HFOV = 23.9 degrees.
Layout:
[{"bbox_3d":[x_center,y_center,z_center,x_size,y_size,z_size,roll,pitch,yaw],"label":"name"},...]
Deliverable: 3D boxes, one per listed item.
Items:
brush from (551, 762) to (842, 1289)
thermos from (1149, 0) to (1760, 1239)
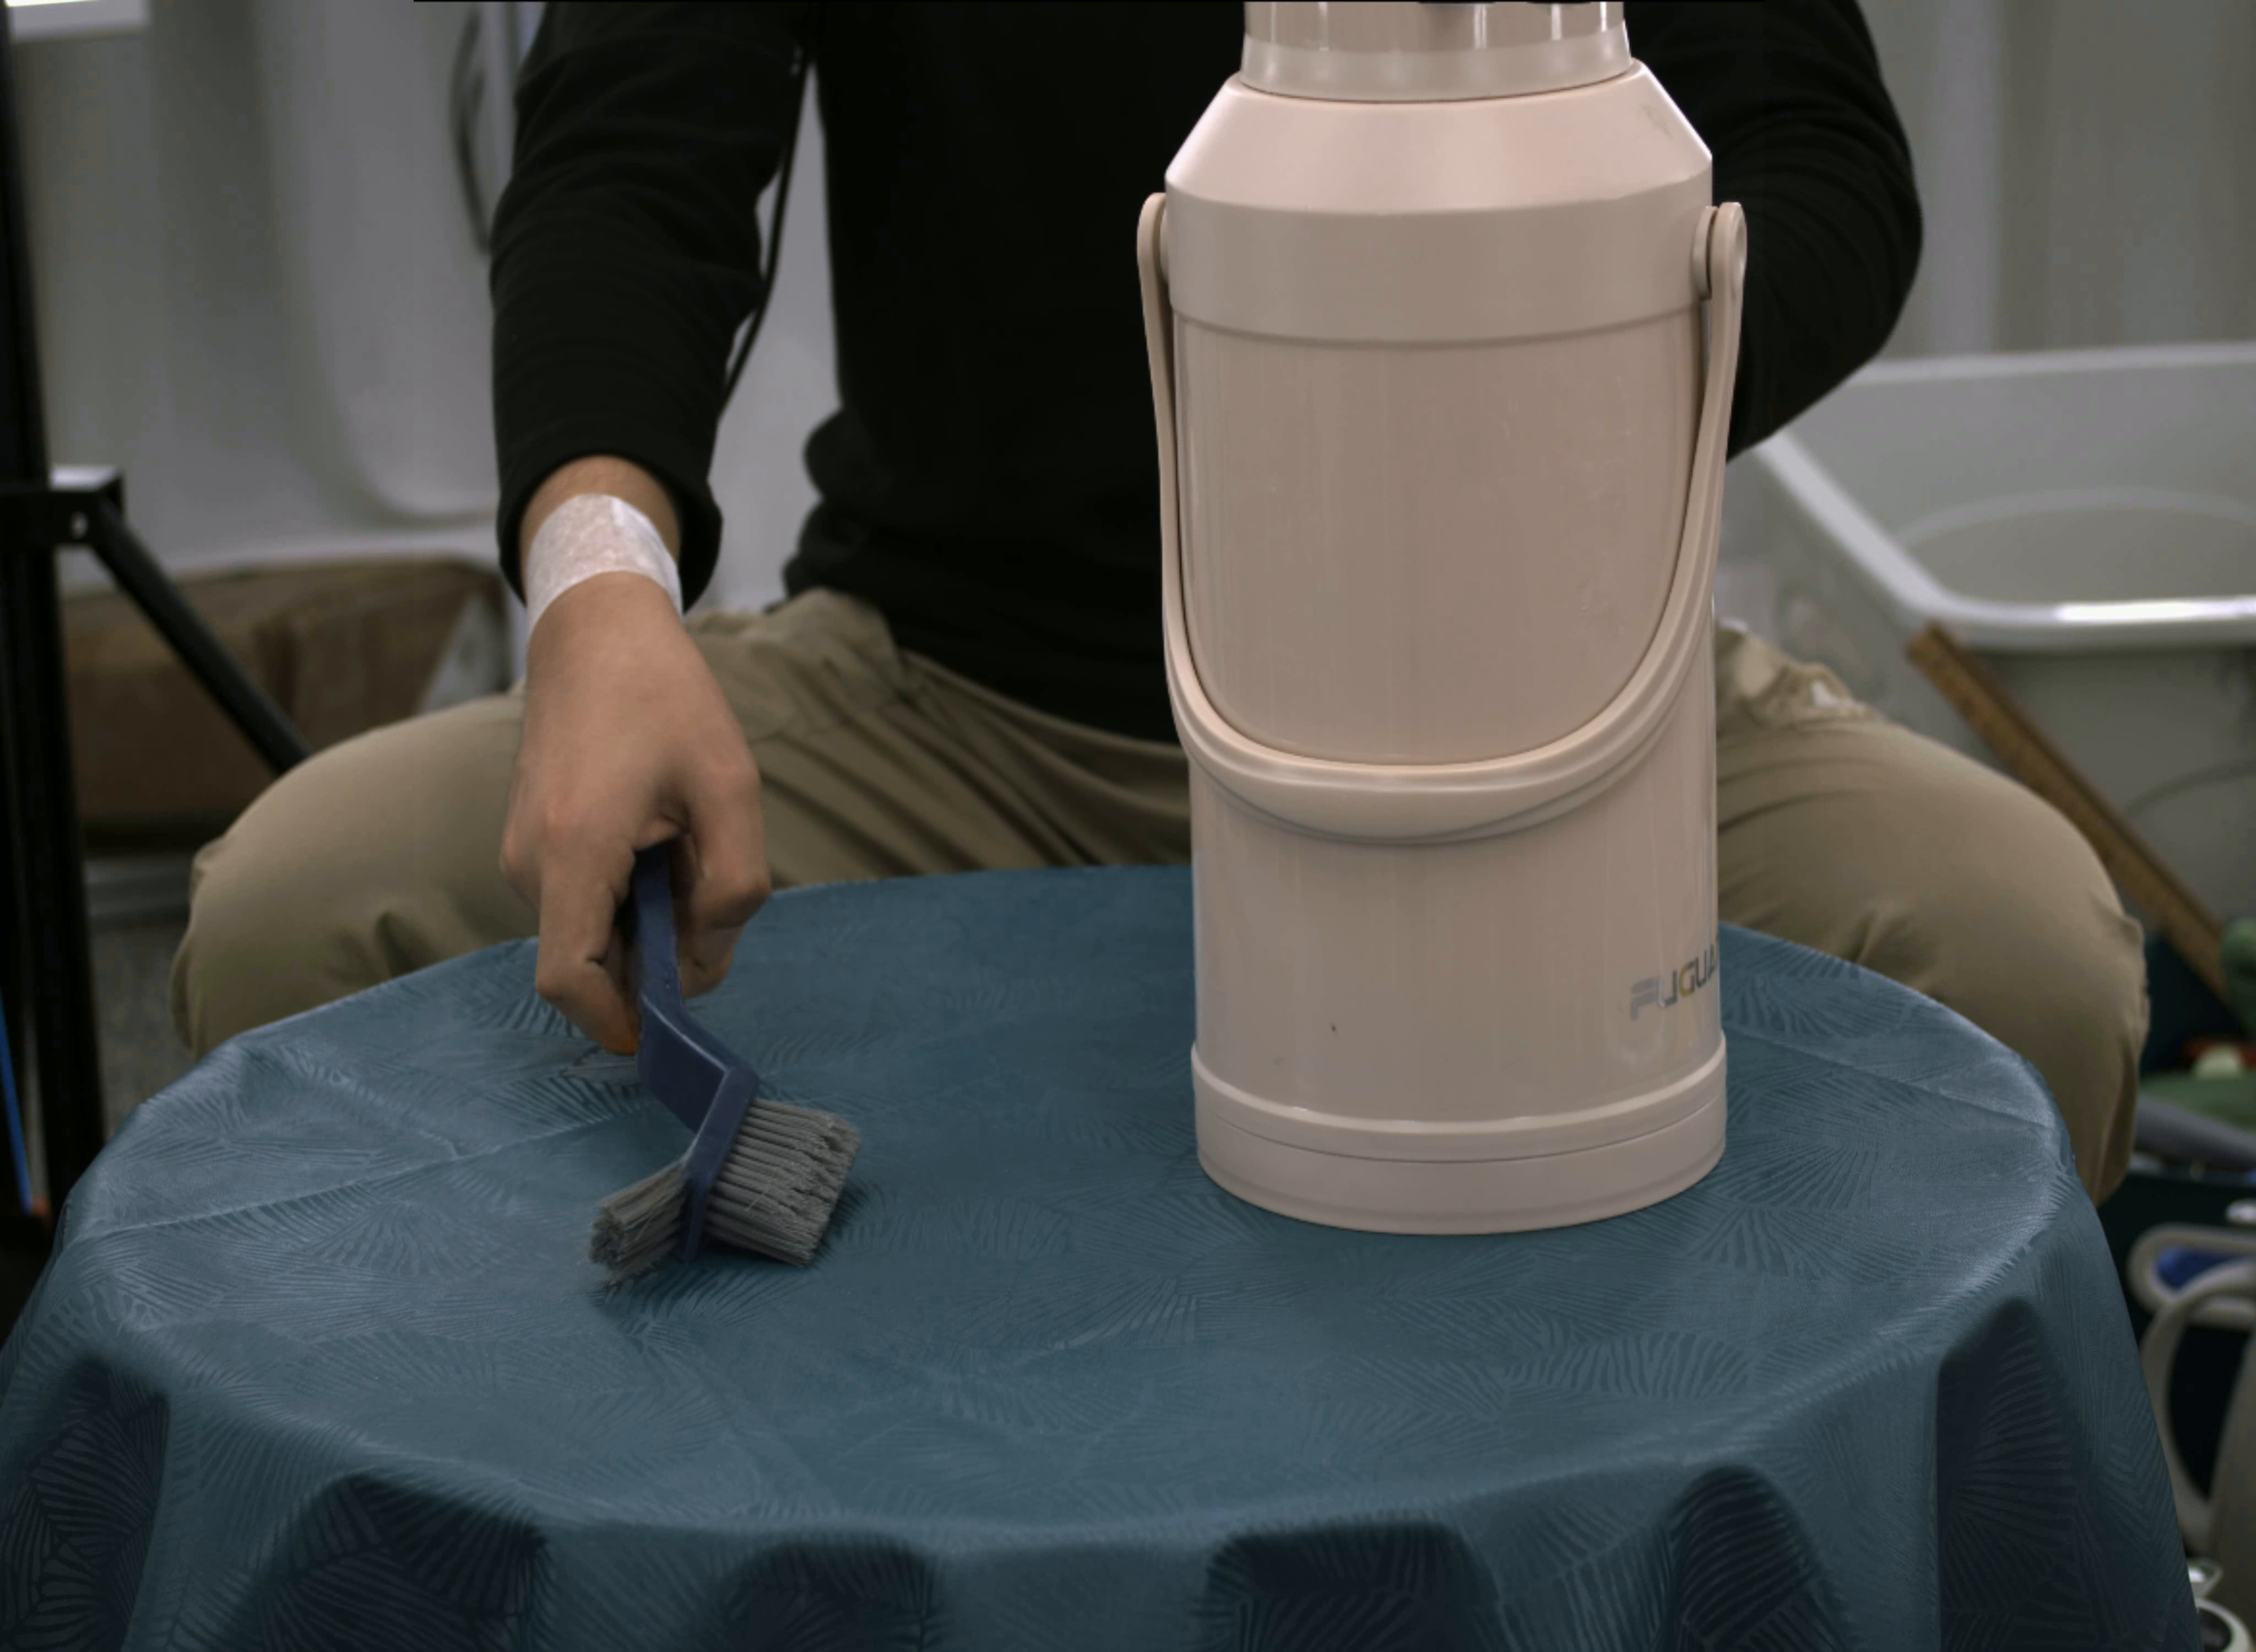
[{"bbox_3d":[-0.148,0.056,1.622,0.094,0.033,0.278,1,27,-17],"label":"brush"},{"bbox_3d":[0.101,-0.099,1.544,0.177,0.406,0.205,2,16,19],"label":"thermos"}]
